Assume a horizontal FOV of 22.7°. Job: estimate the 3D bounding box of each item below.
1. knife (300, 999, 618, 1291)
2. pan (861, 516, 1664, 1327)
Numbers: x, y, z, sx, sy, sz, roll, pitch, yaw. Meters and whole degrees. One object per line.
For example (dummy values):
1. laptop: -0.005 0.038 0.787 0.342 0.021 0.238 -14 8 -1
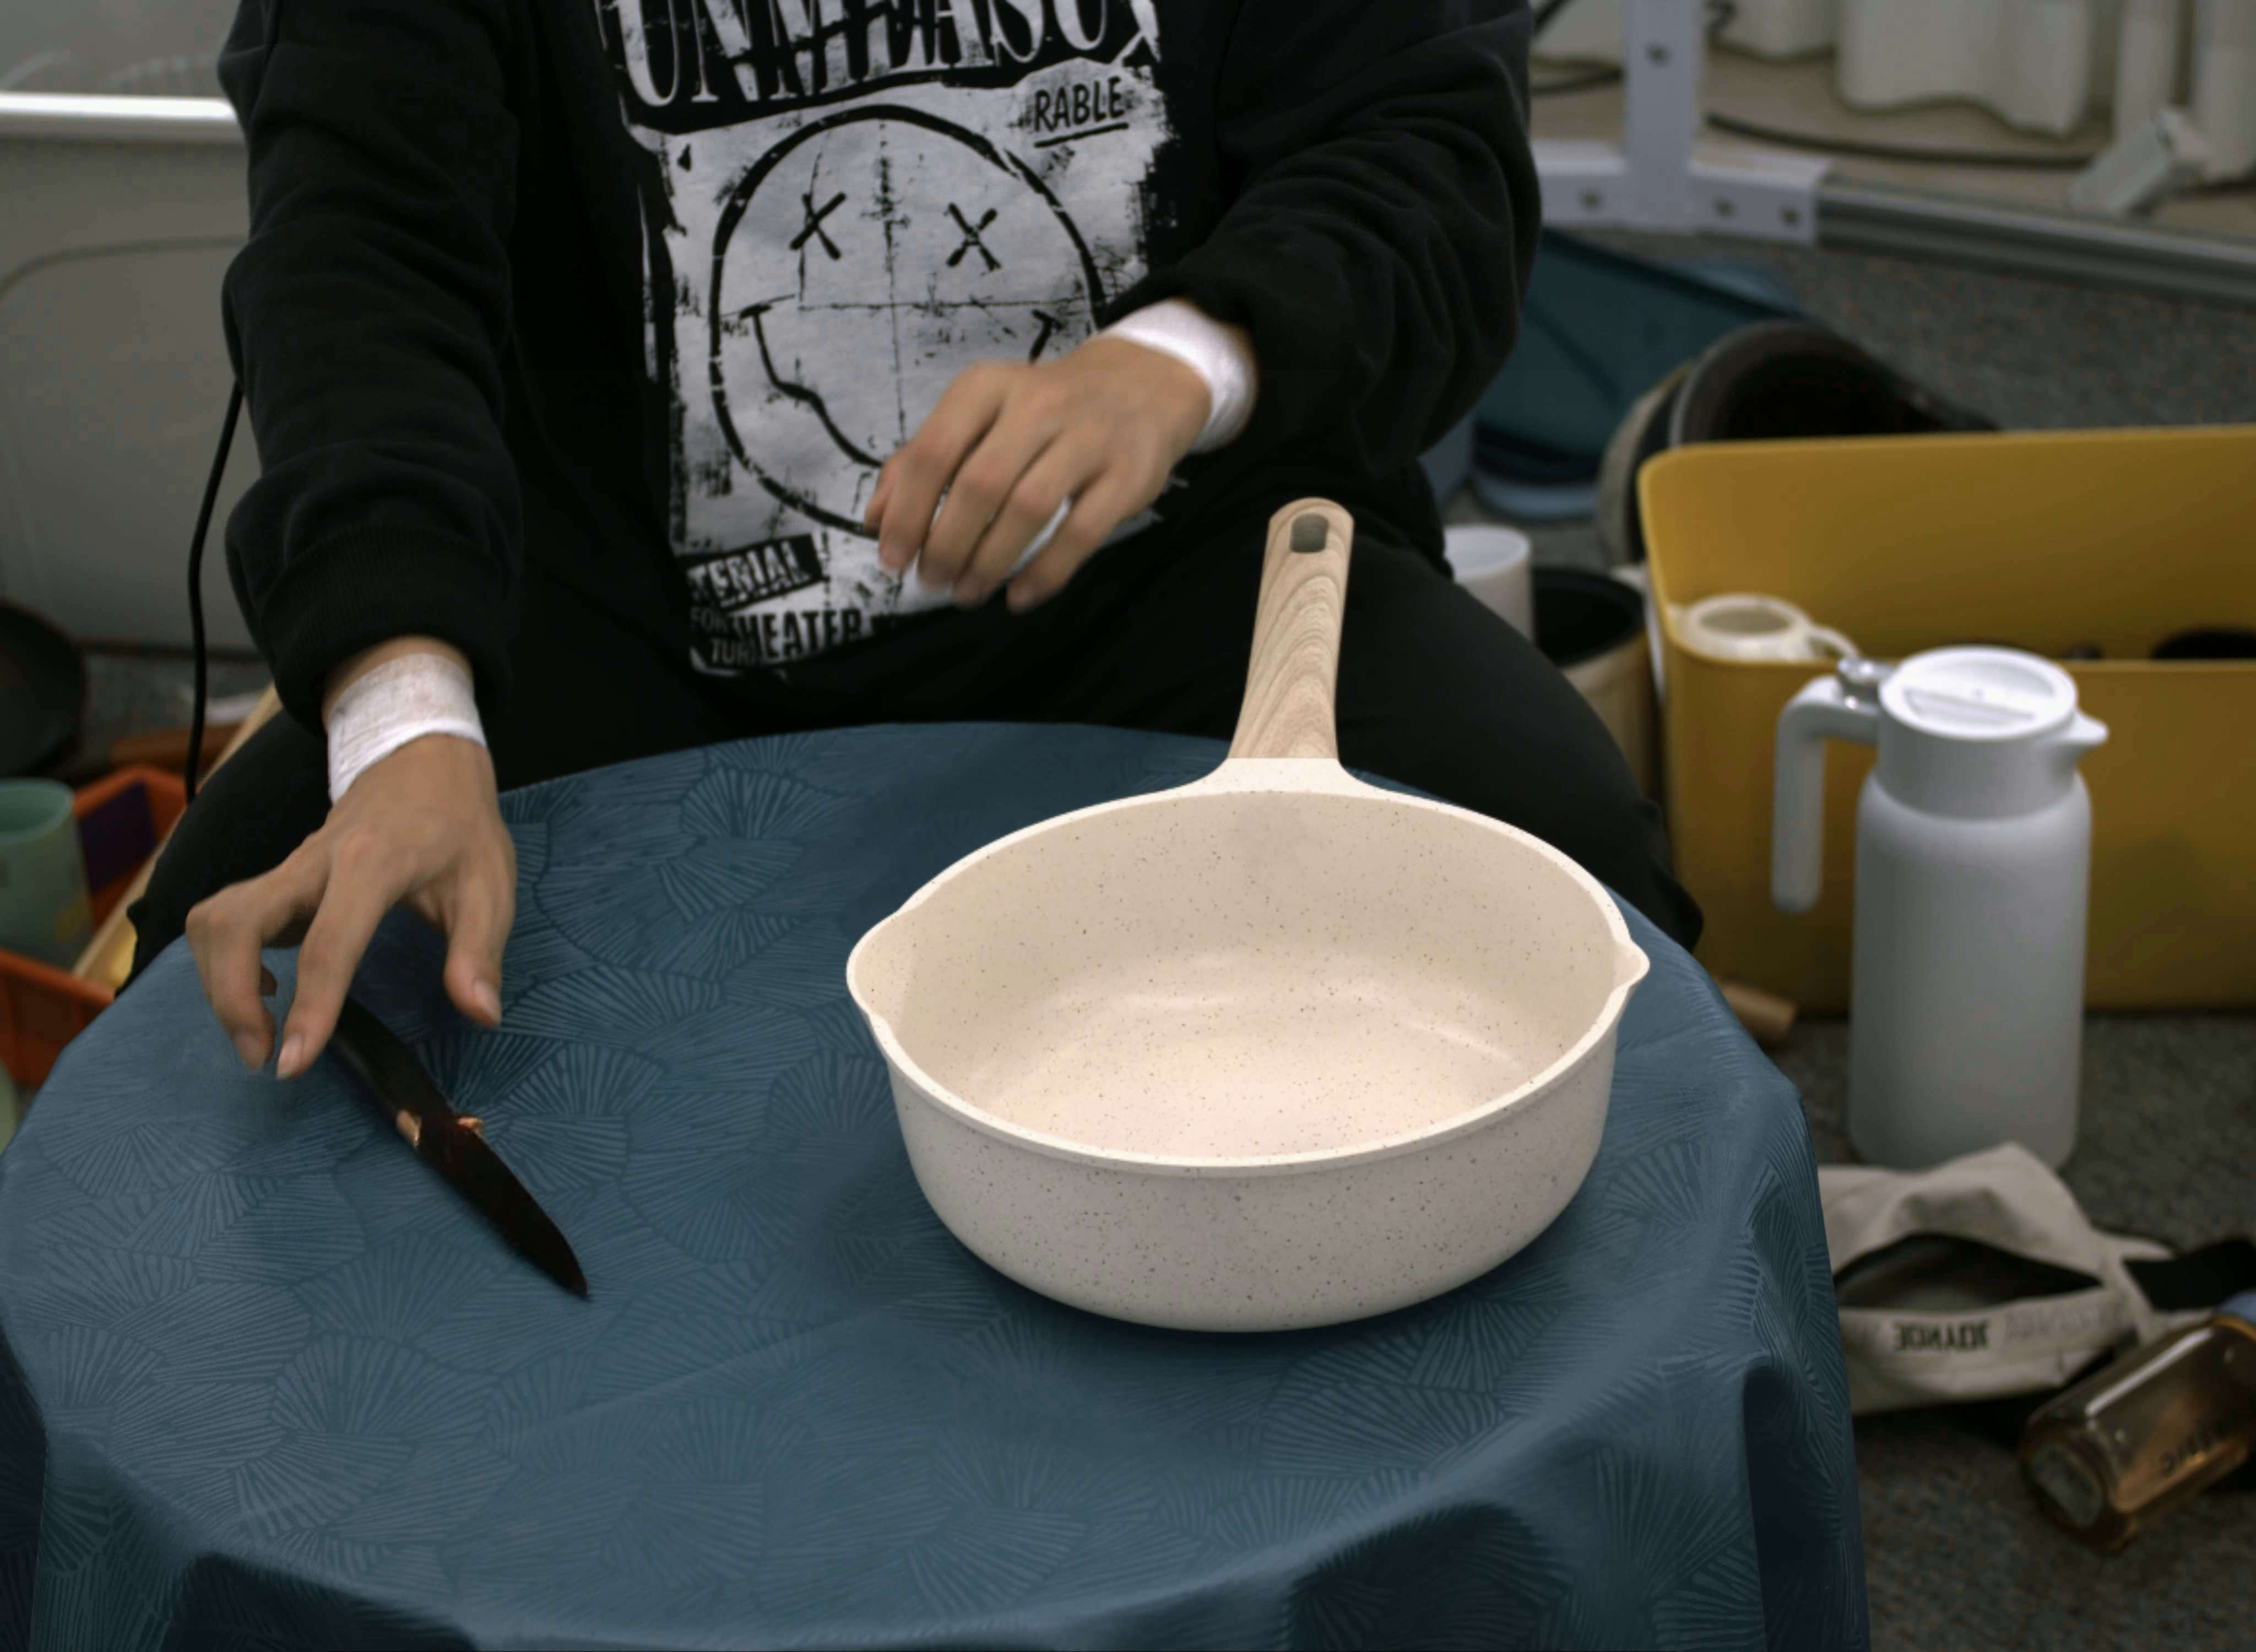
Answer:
1. knife: -0.228 0.108 1.896 0.026 0.017 0.226 -8 26 -30
2. pan: 0.053 0.029 1.926 0.262 0.101 0.442 -2 27 6
